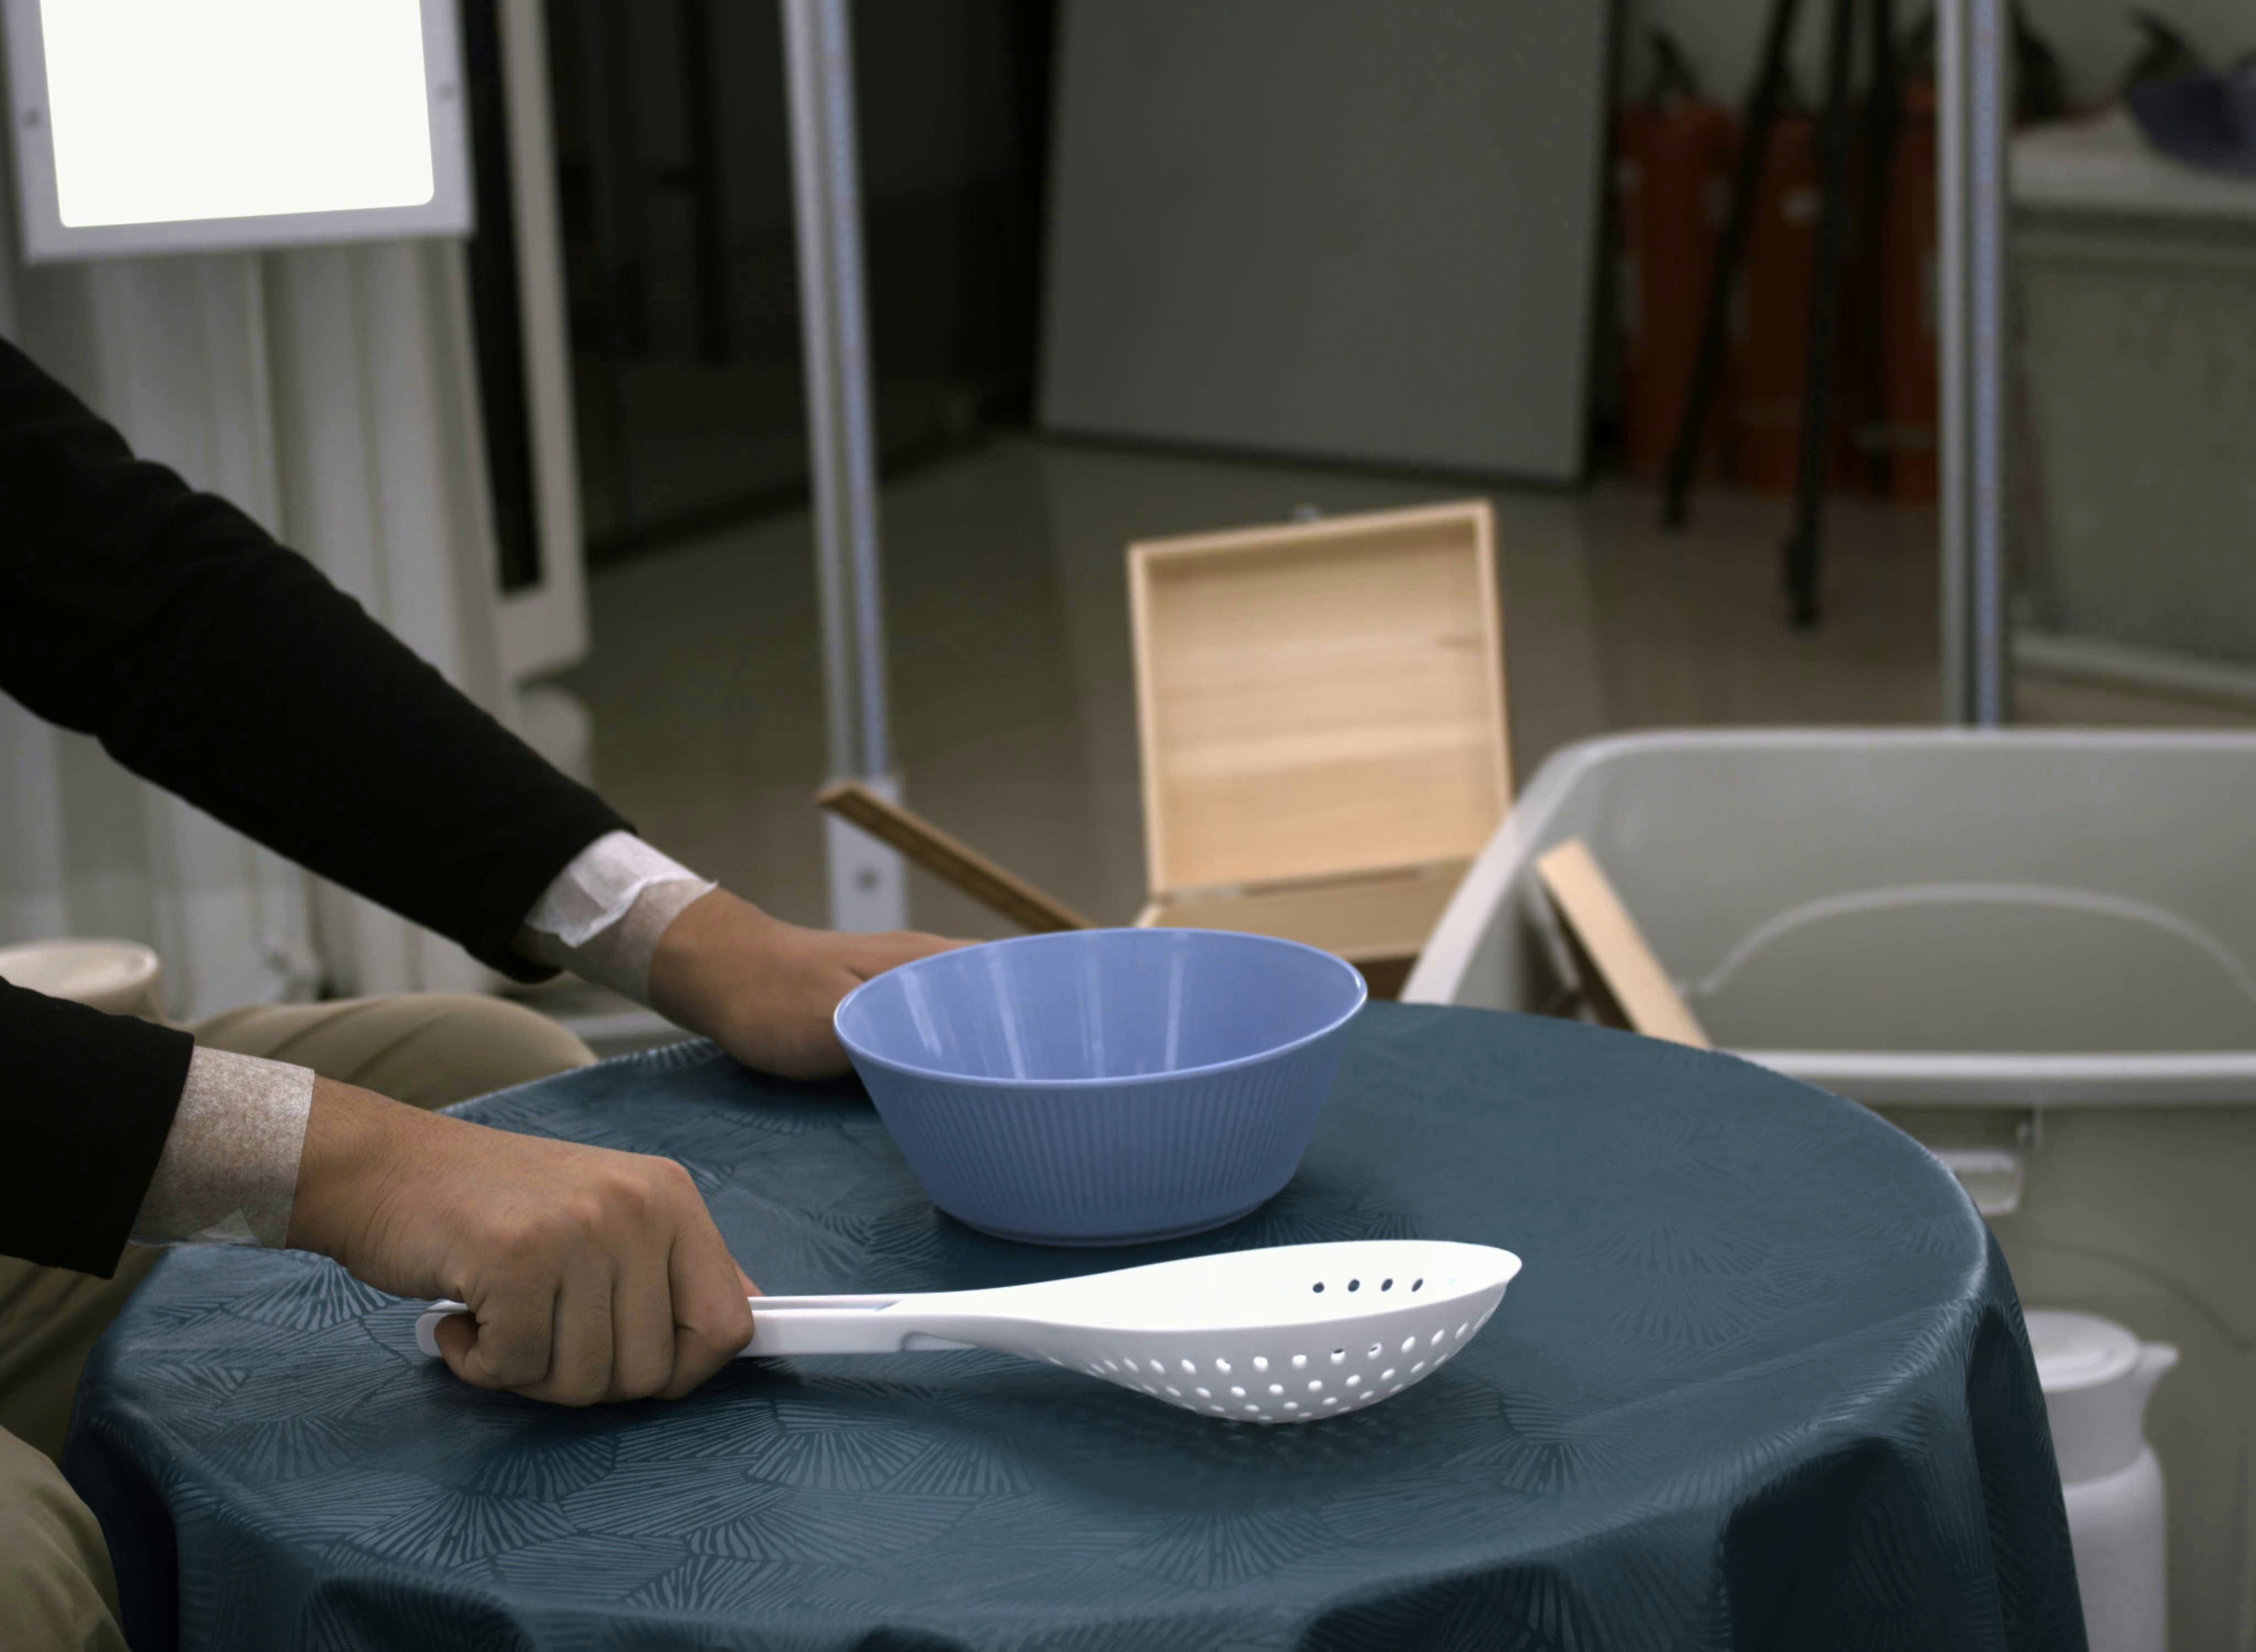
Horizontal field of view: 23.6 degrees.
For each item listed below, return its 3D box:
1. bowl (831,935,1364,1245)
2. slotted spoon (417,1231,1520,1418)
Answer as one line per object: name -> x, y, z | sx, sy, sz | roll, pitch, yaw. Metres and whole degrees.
bowl -> -0.008, 0.088, 1.760 | 0.174, 0.071, 0.176 | -5, 13, 0
slotted spoon -> -0.052, 0.145, 1.589 | 0.349, 0.046, 0.134 | 0, 6, 22
